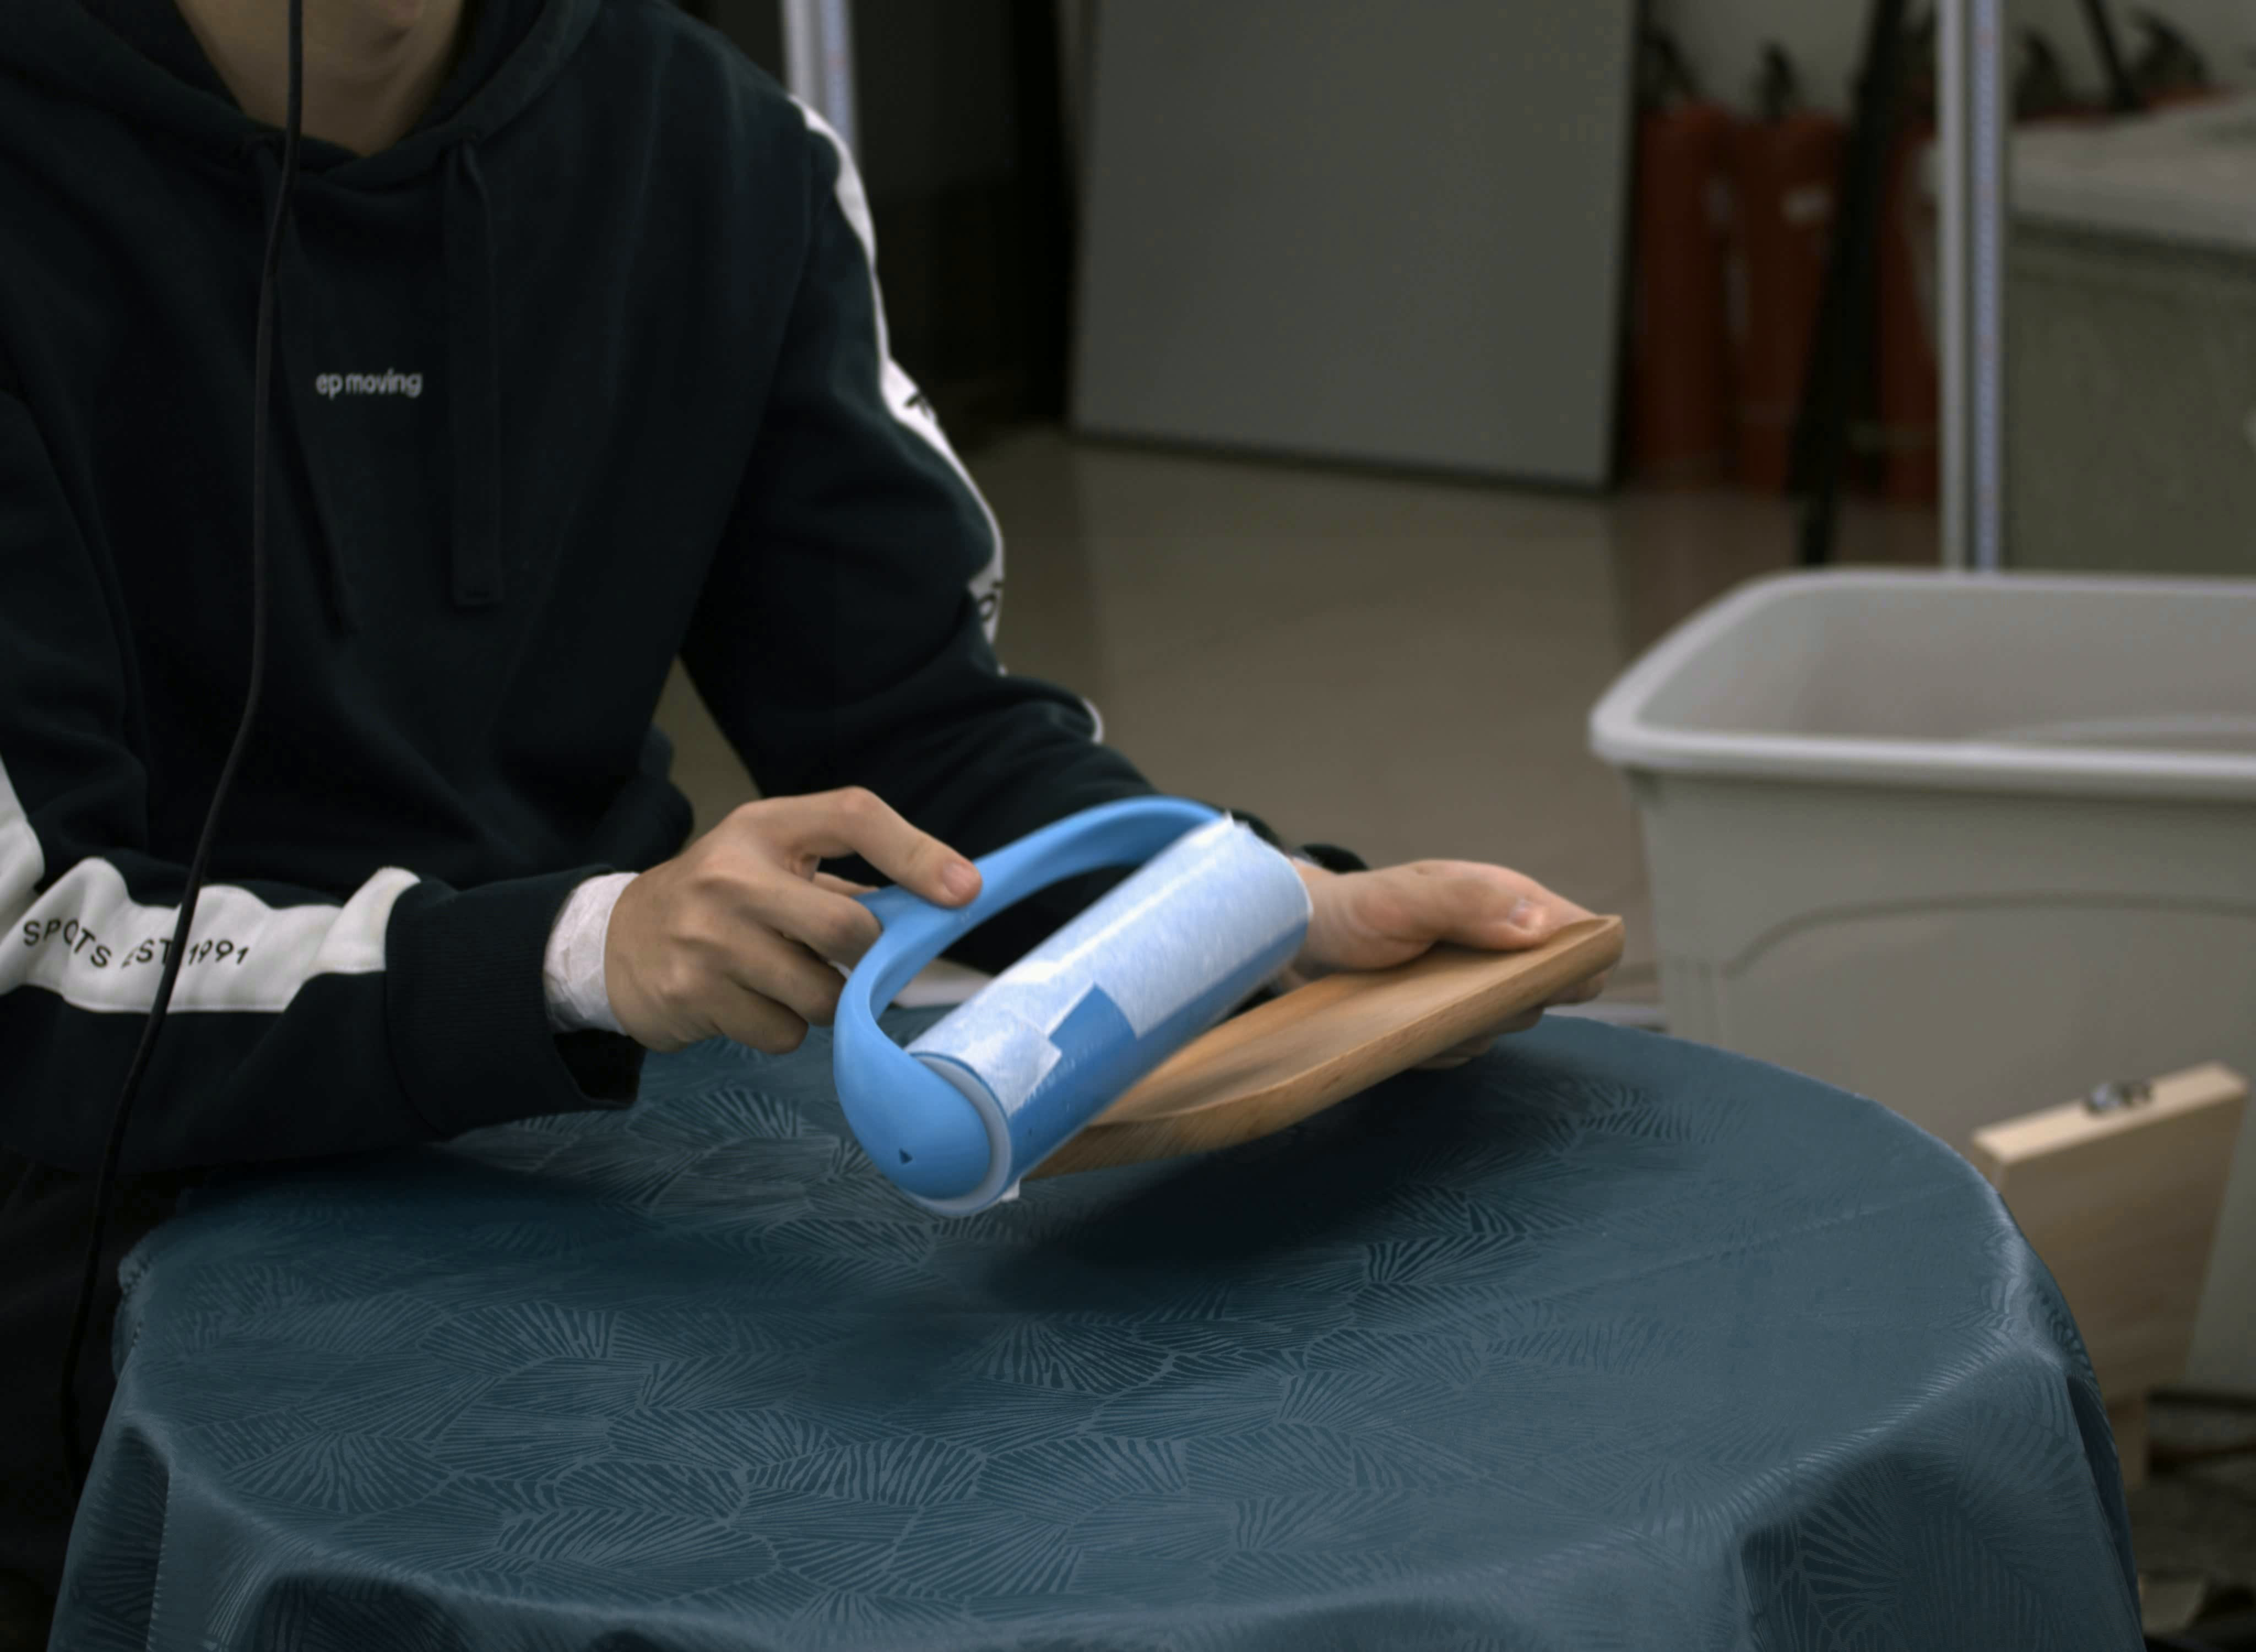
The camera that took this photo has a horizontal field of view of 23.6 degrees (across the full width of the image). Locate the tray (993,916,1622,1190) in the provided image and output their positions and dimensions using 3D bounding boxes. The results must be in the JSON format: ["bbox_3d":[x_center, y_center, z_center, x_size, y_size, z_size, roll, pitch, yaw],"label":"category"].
[{"bbox_3d":[0.058,0.073,1.763,0.131,0.023,0.246,-16,4,40],"label":"tray"}]

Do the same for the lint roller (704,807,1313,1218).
[{"bbox_3d":[-0.061,0.052,1.705,0.181,0.068,0.226,6,25,27],"label":"lint roller"}]
